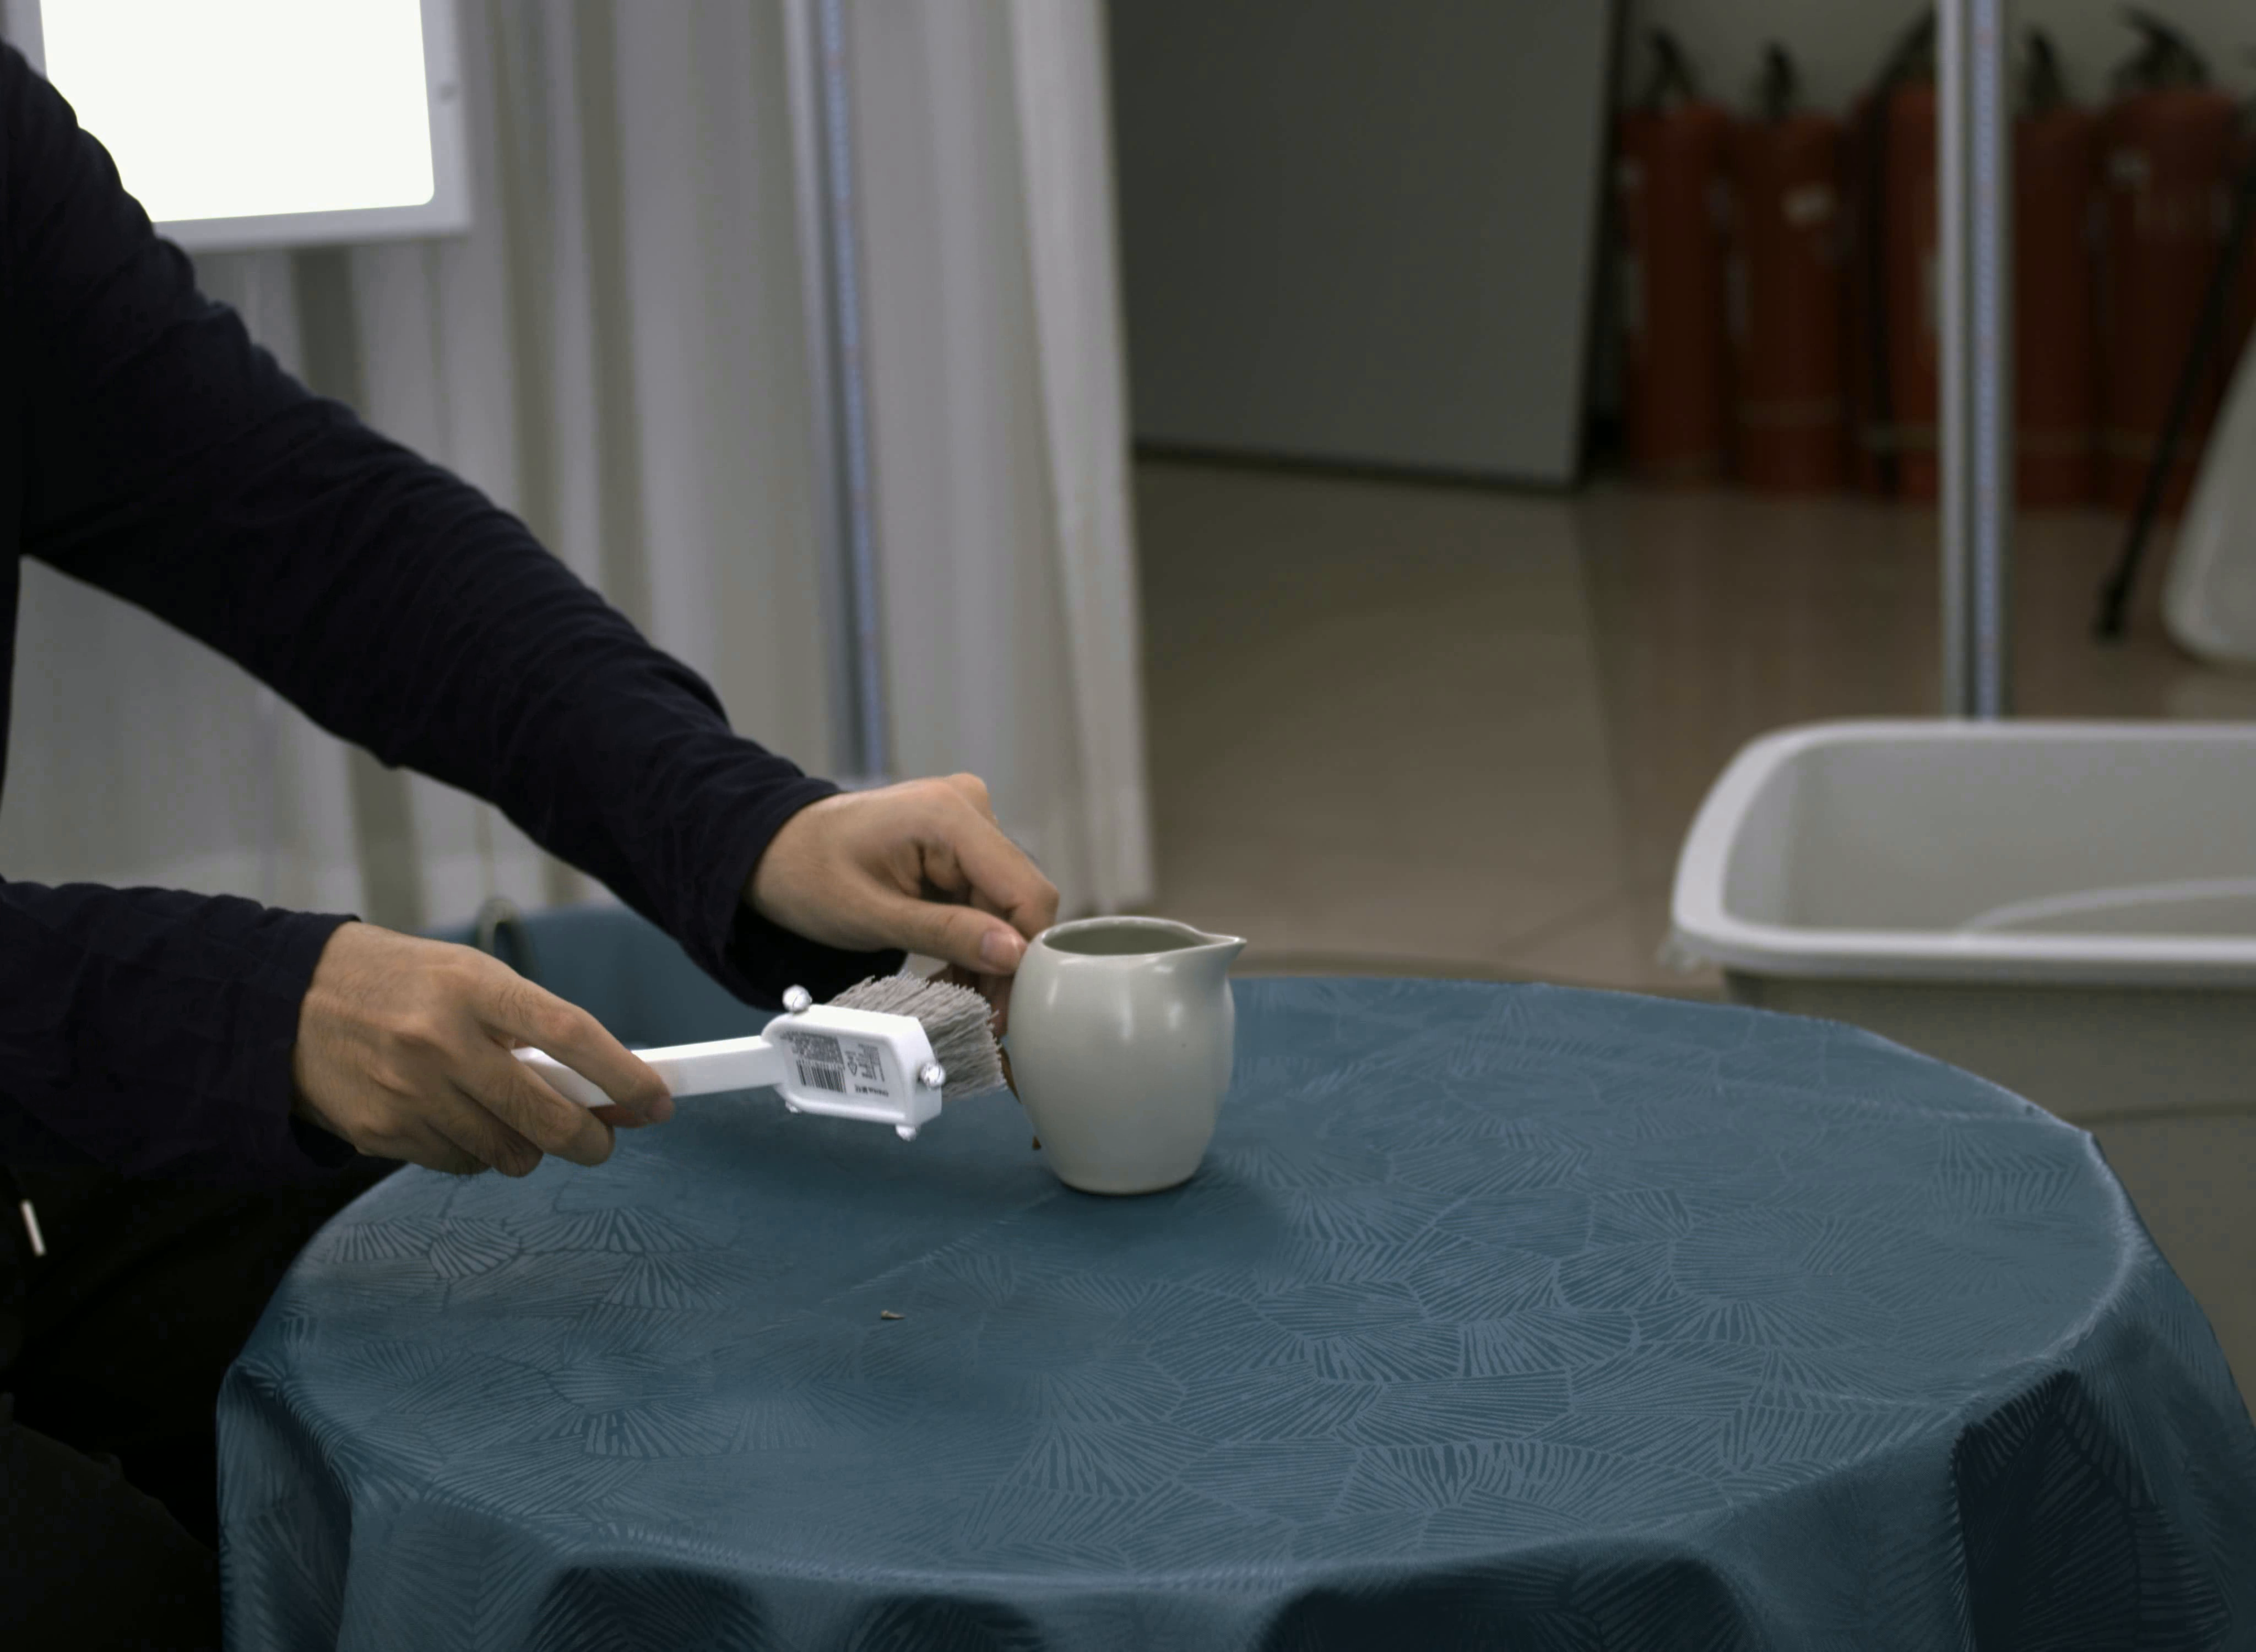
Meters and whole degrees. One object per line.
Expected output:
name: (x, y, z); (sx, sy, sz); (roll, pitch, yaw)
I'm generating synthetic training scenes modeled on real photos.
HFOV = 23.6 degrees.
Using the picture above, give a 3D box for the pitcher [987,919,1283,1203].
pitcher: (0.000, 0.074, 1.778); (0.120, 0.089, 0.074); (11, 15, 37)

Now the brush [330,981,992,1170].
brush: (-0.147, 0.080, 1.692); (0.245, 0.034, 0.049); (-8, 14, 35)
